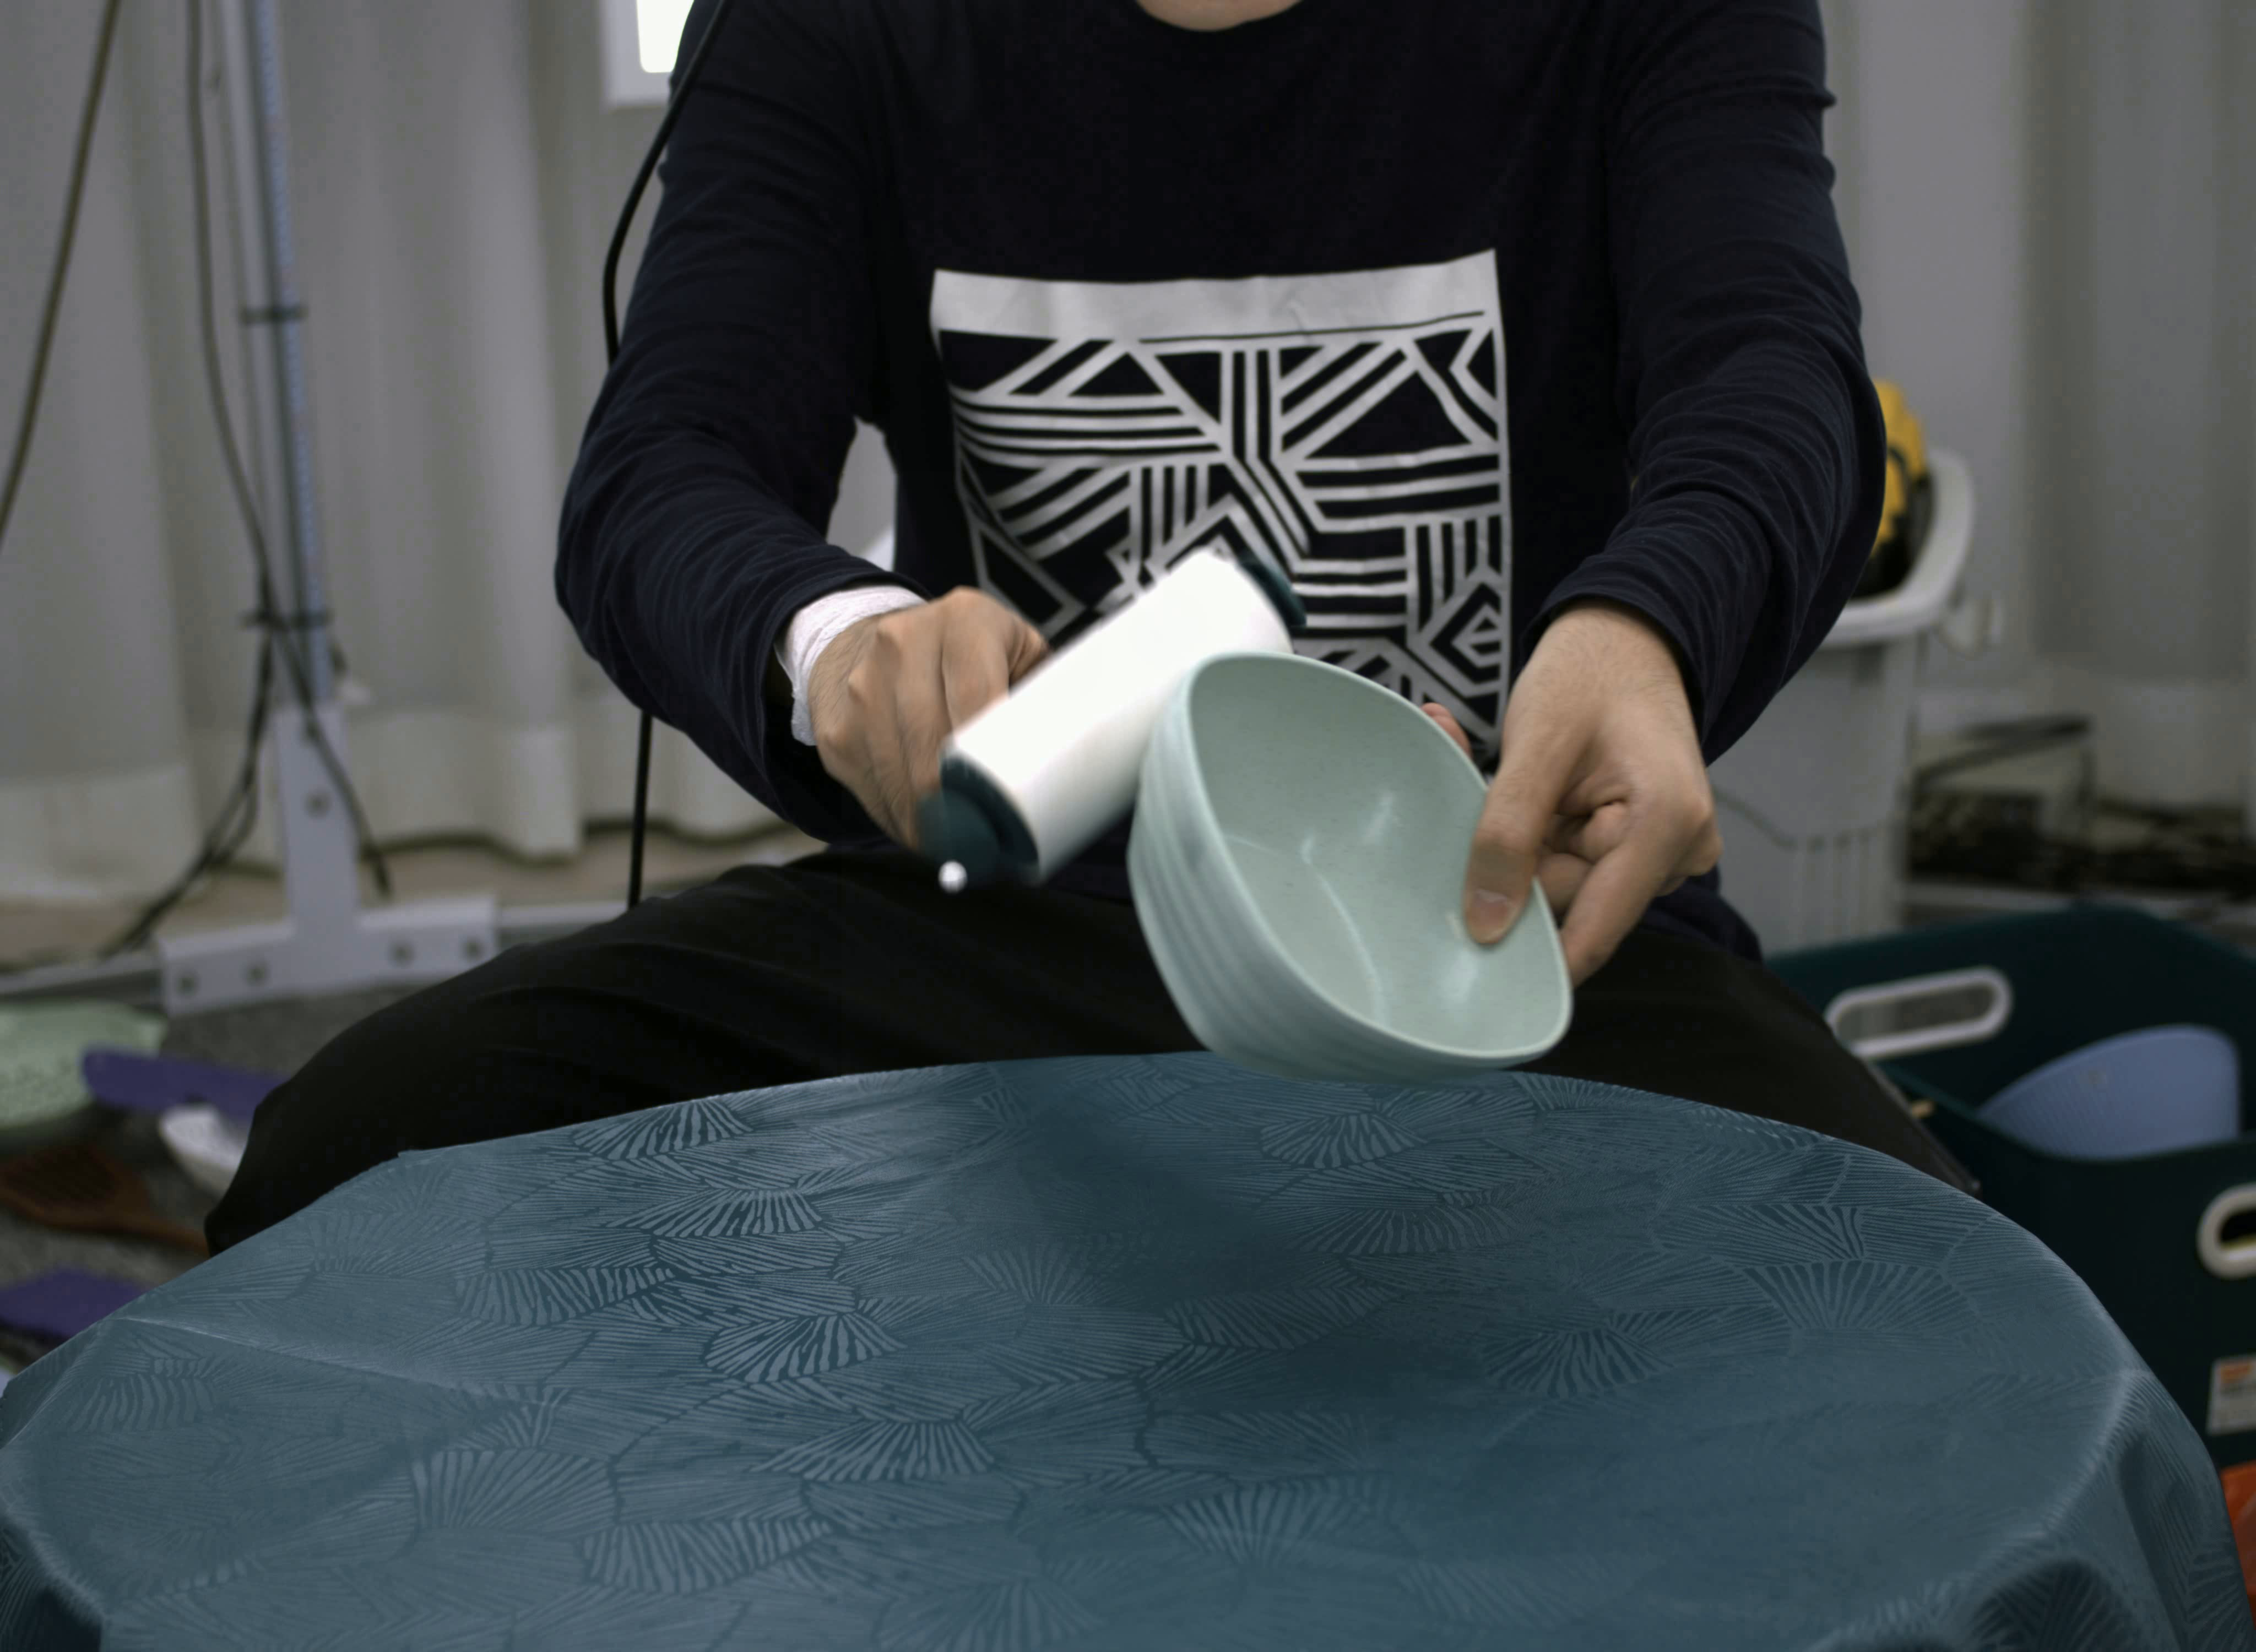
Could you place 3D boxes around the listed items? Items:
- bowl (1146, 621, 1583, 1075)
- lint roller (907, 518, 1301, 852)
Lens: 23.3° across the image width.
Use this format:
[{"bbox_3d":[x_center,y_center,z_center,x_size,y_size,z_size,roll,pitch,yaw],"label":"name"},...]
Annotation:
[{"bbox_3d":[0.057,0.016,1.564,0.151,0.152,0.058,-17,-16,-45],"label":"bowl"},{"bbox_3d":[-0.031,-0.037,1.647,0.134,0.048,0.180,-36,13,-21],"label":"lint roller"}]
